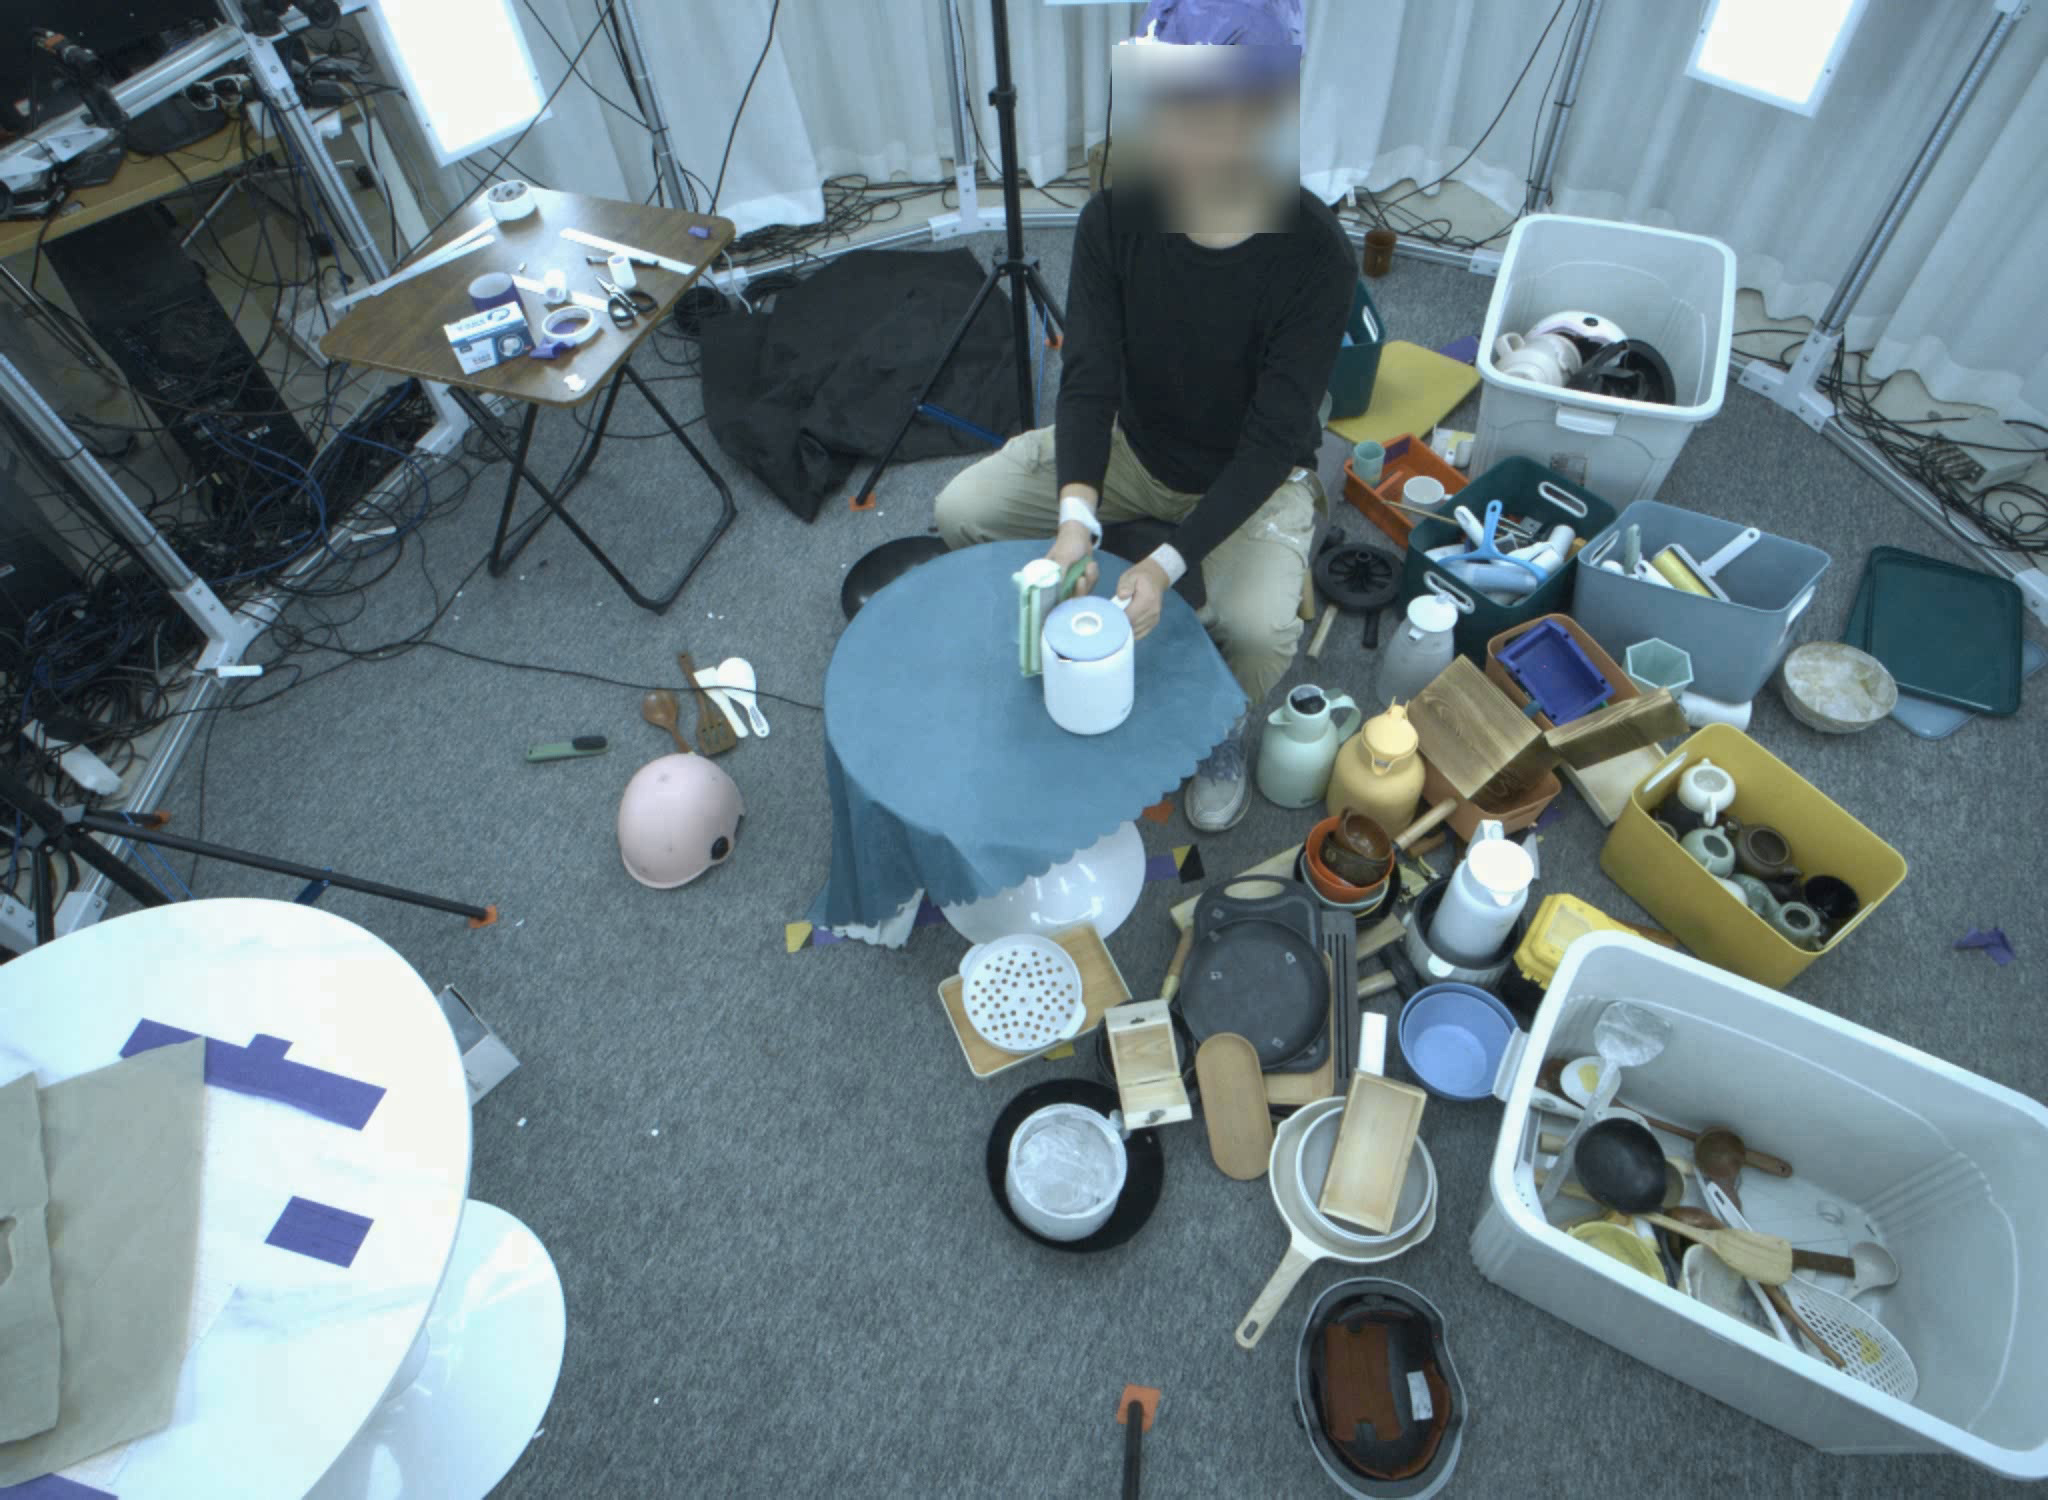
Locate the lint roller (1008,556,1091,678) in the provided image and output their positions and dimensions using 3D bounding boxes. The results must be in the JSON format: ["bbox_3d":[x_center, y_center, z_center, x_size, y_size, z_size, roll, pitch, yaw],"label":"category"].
[{"bbox_3d":[0.031,-0.228,1.799,0.081,0.200,0.183,18,55,13],"label":"lint roller"}]

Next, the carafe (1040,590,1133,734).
[{"bbox_3d":[0.104,-0.138,1.776,0.130,0.184,0.192,26,58,20],"label":"carafe"}]
